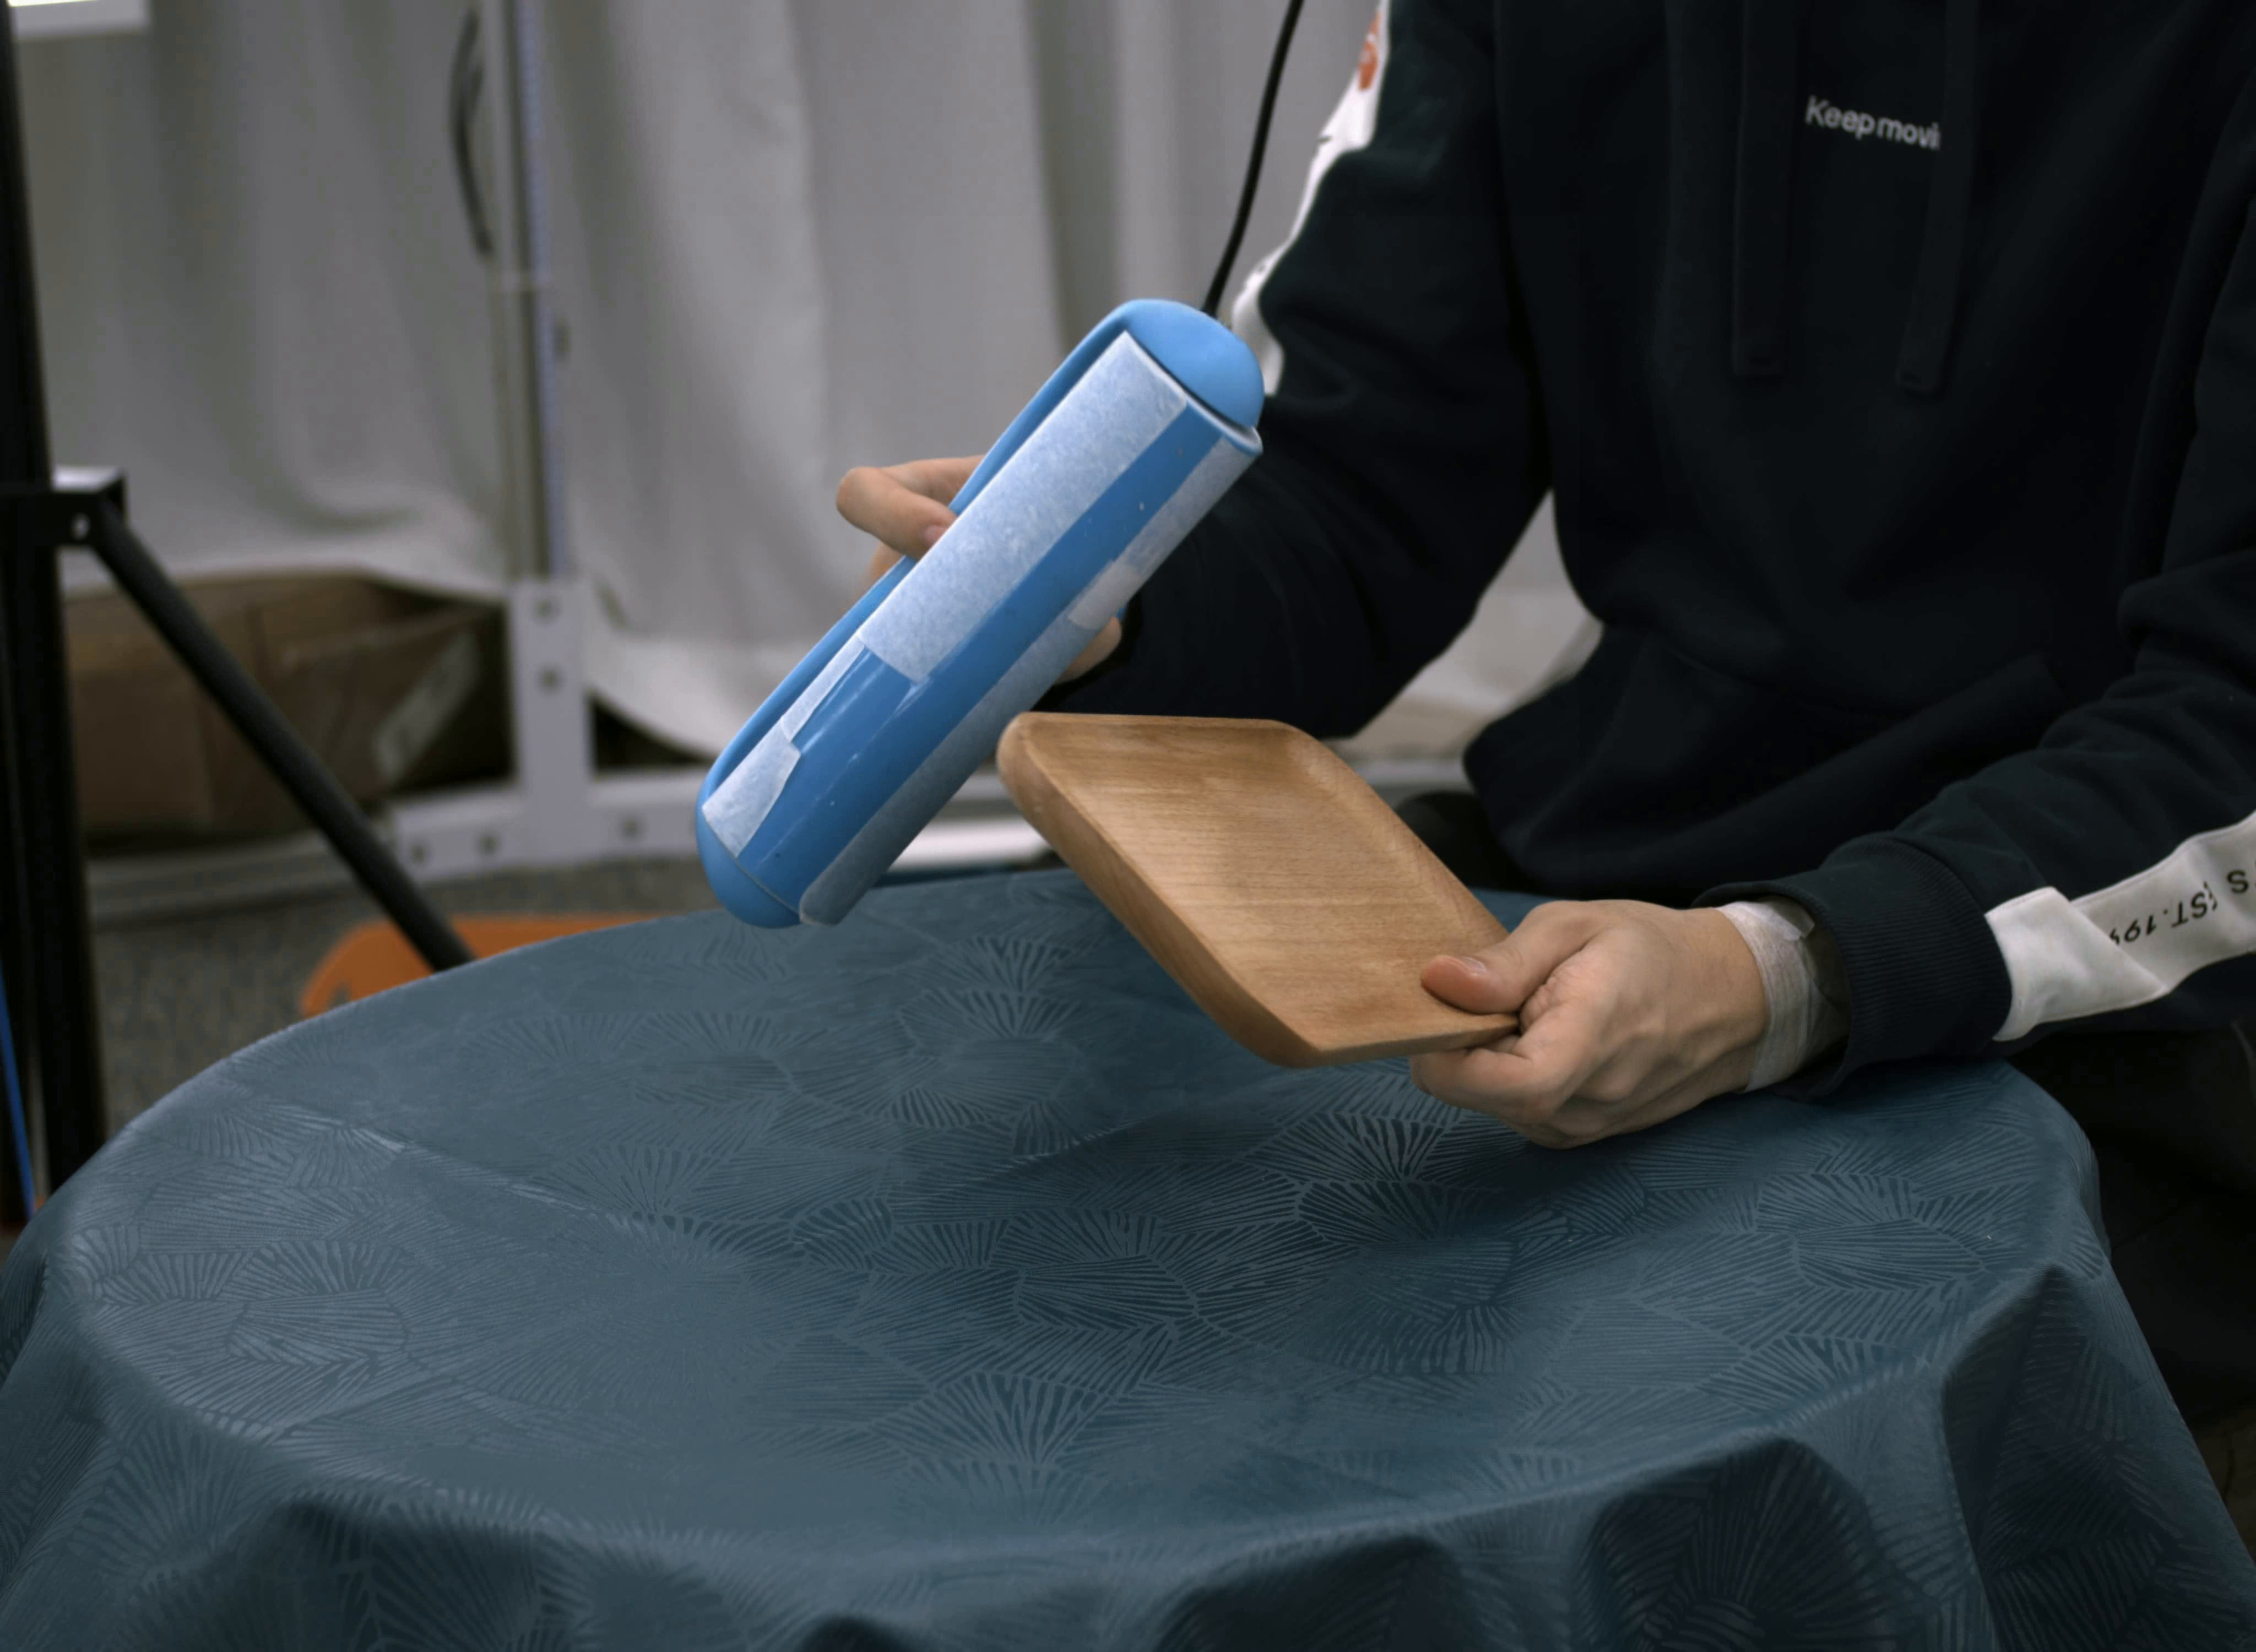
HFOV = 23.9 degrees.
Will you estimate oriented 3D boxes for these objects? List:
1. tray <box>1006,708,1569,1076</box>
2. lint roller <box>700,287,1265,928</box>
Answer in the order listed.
[{"bbox_3d":[0.048,0.019,1.494,0.132,0.023,0.246,50,16,16],"label":"tray"},{"bbox_3d":[-0.038,-0.069,1.615,0.068,0.230,0.179,40,10,-1],"label":"lint roller"}]
